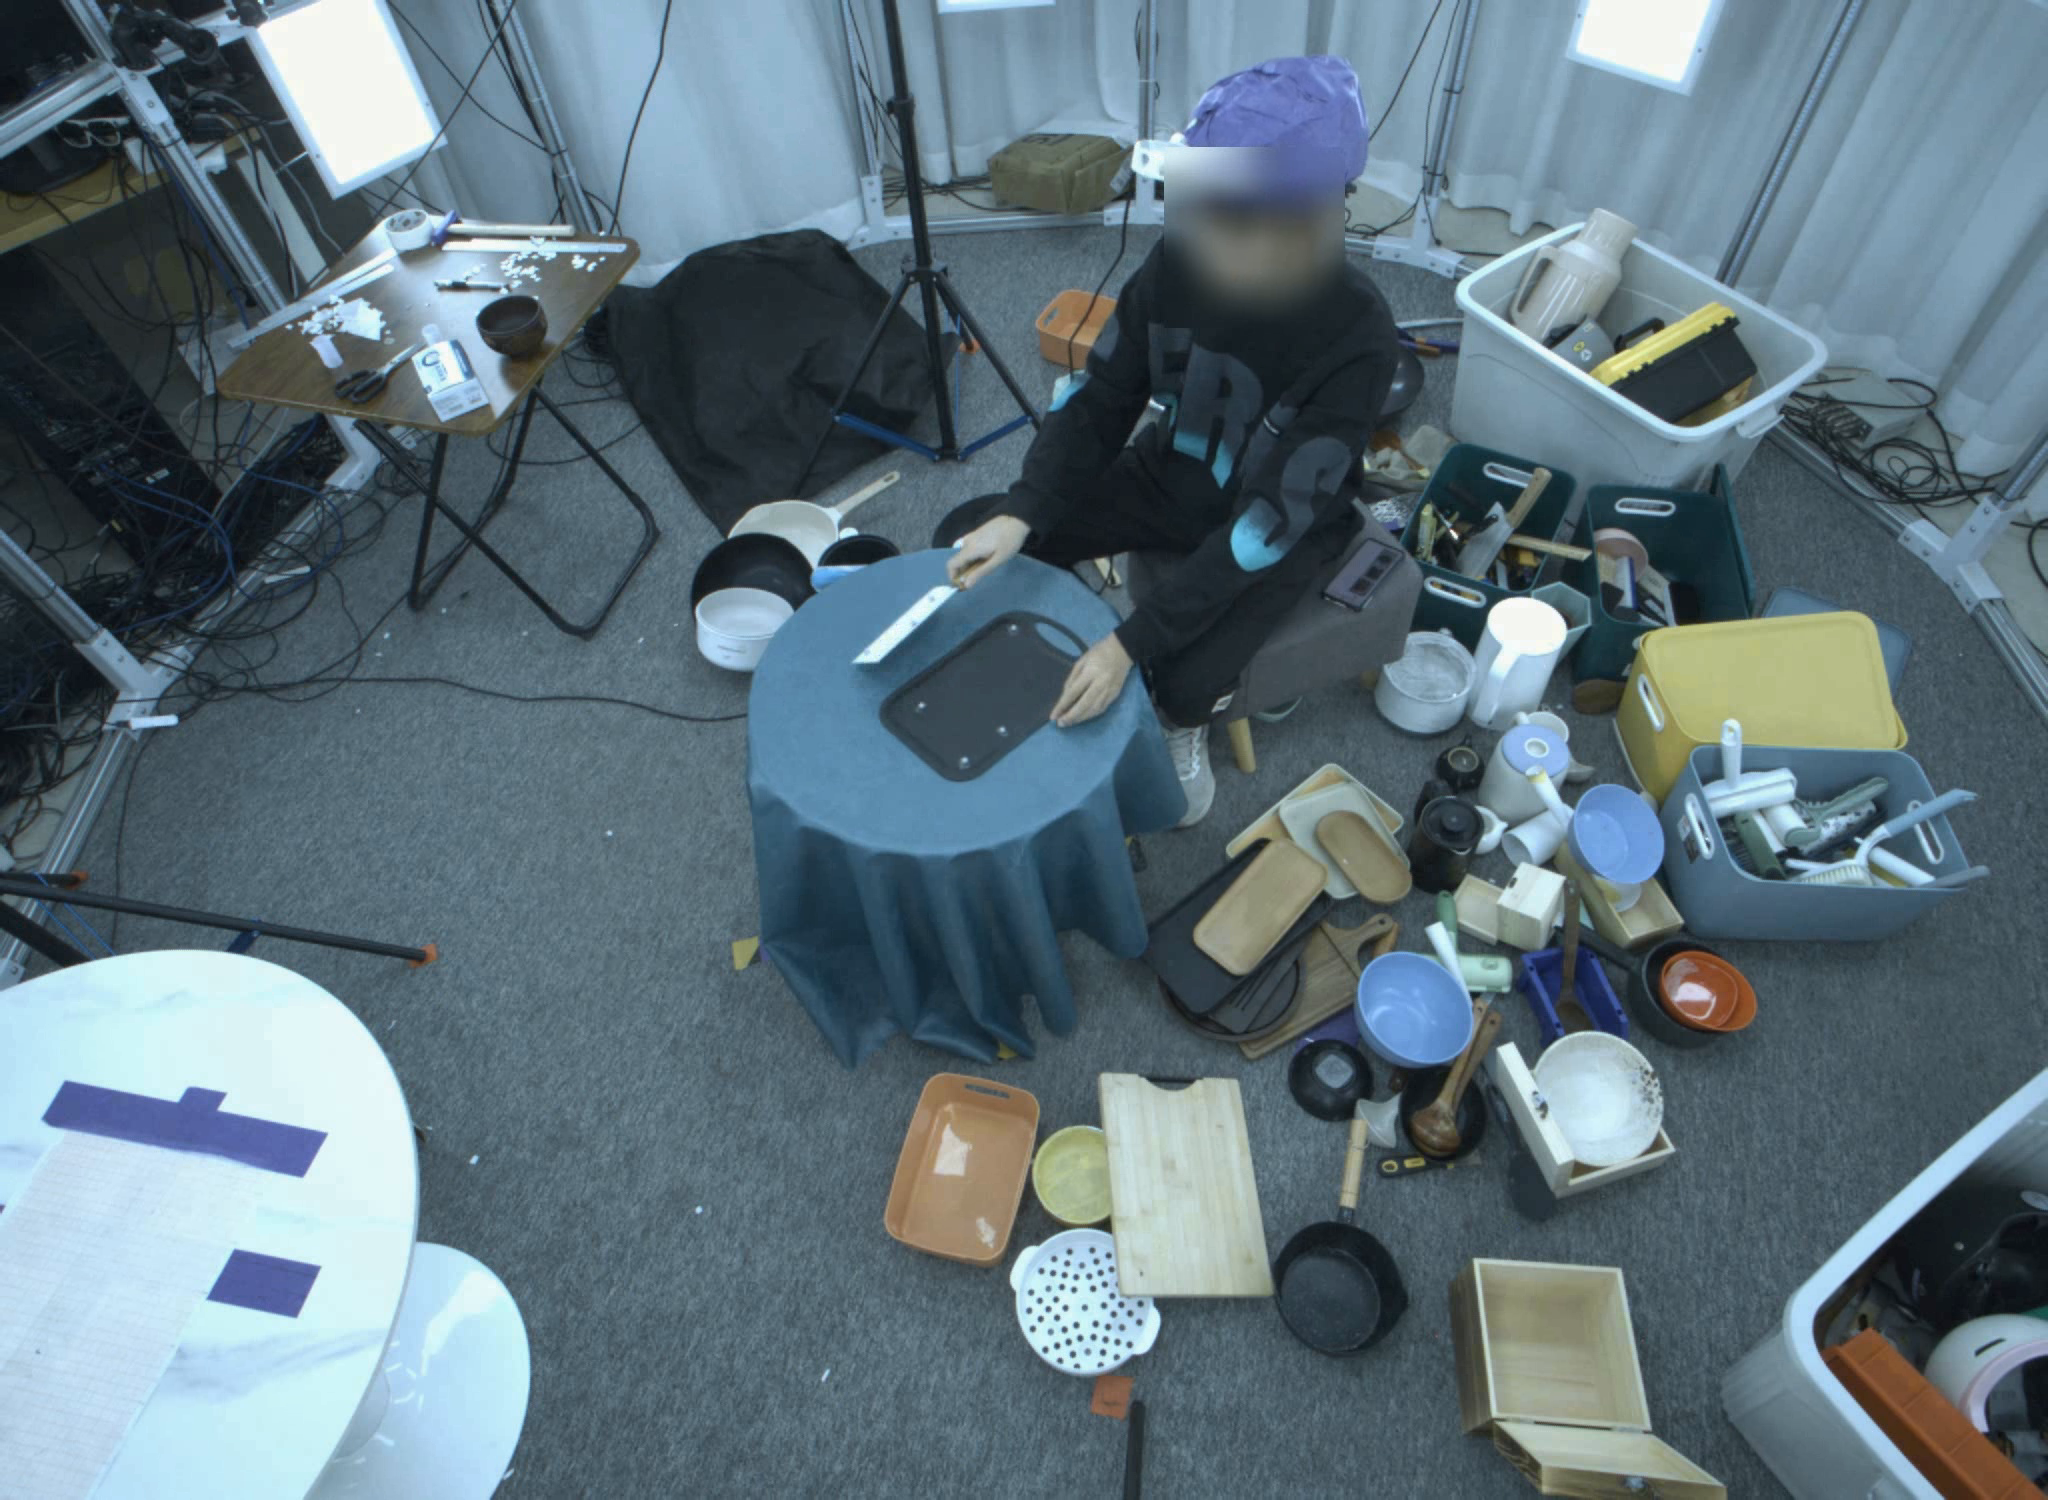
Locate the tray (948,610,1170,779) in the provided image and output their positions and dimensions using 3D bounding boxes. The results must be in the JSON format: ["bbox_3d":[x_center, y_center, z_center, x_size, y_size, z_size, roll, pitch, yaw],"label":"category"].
[{"bbox_3d":[0.059,-0.095,1.848,0.328,0.010,0.207,-34,61,-20],"label":"tray"}]

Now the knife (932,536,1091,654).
[{"bbox_3d":[-0.022,-0.238,1.891,0.308,0.021,0.091,-41,23,-23],"label":"knife"}]
